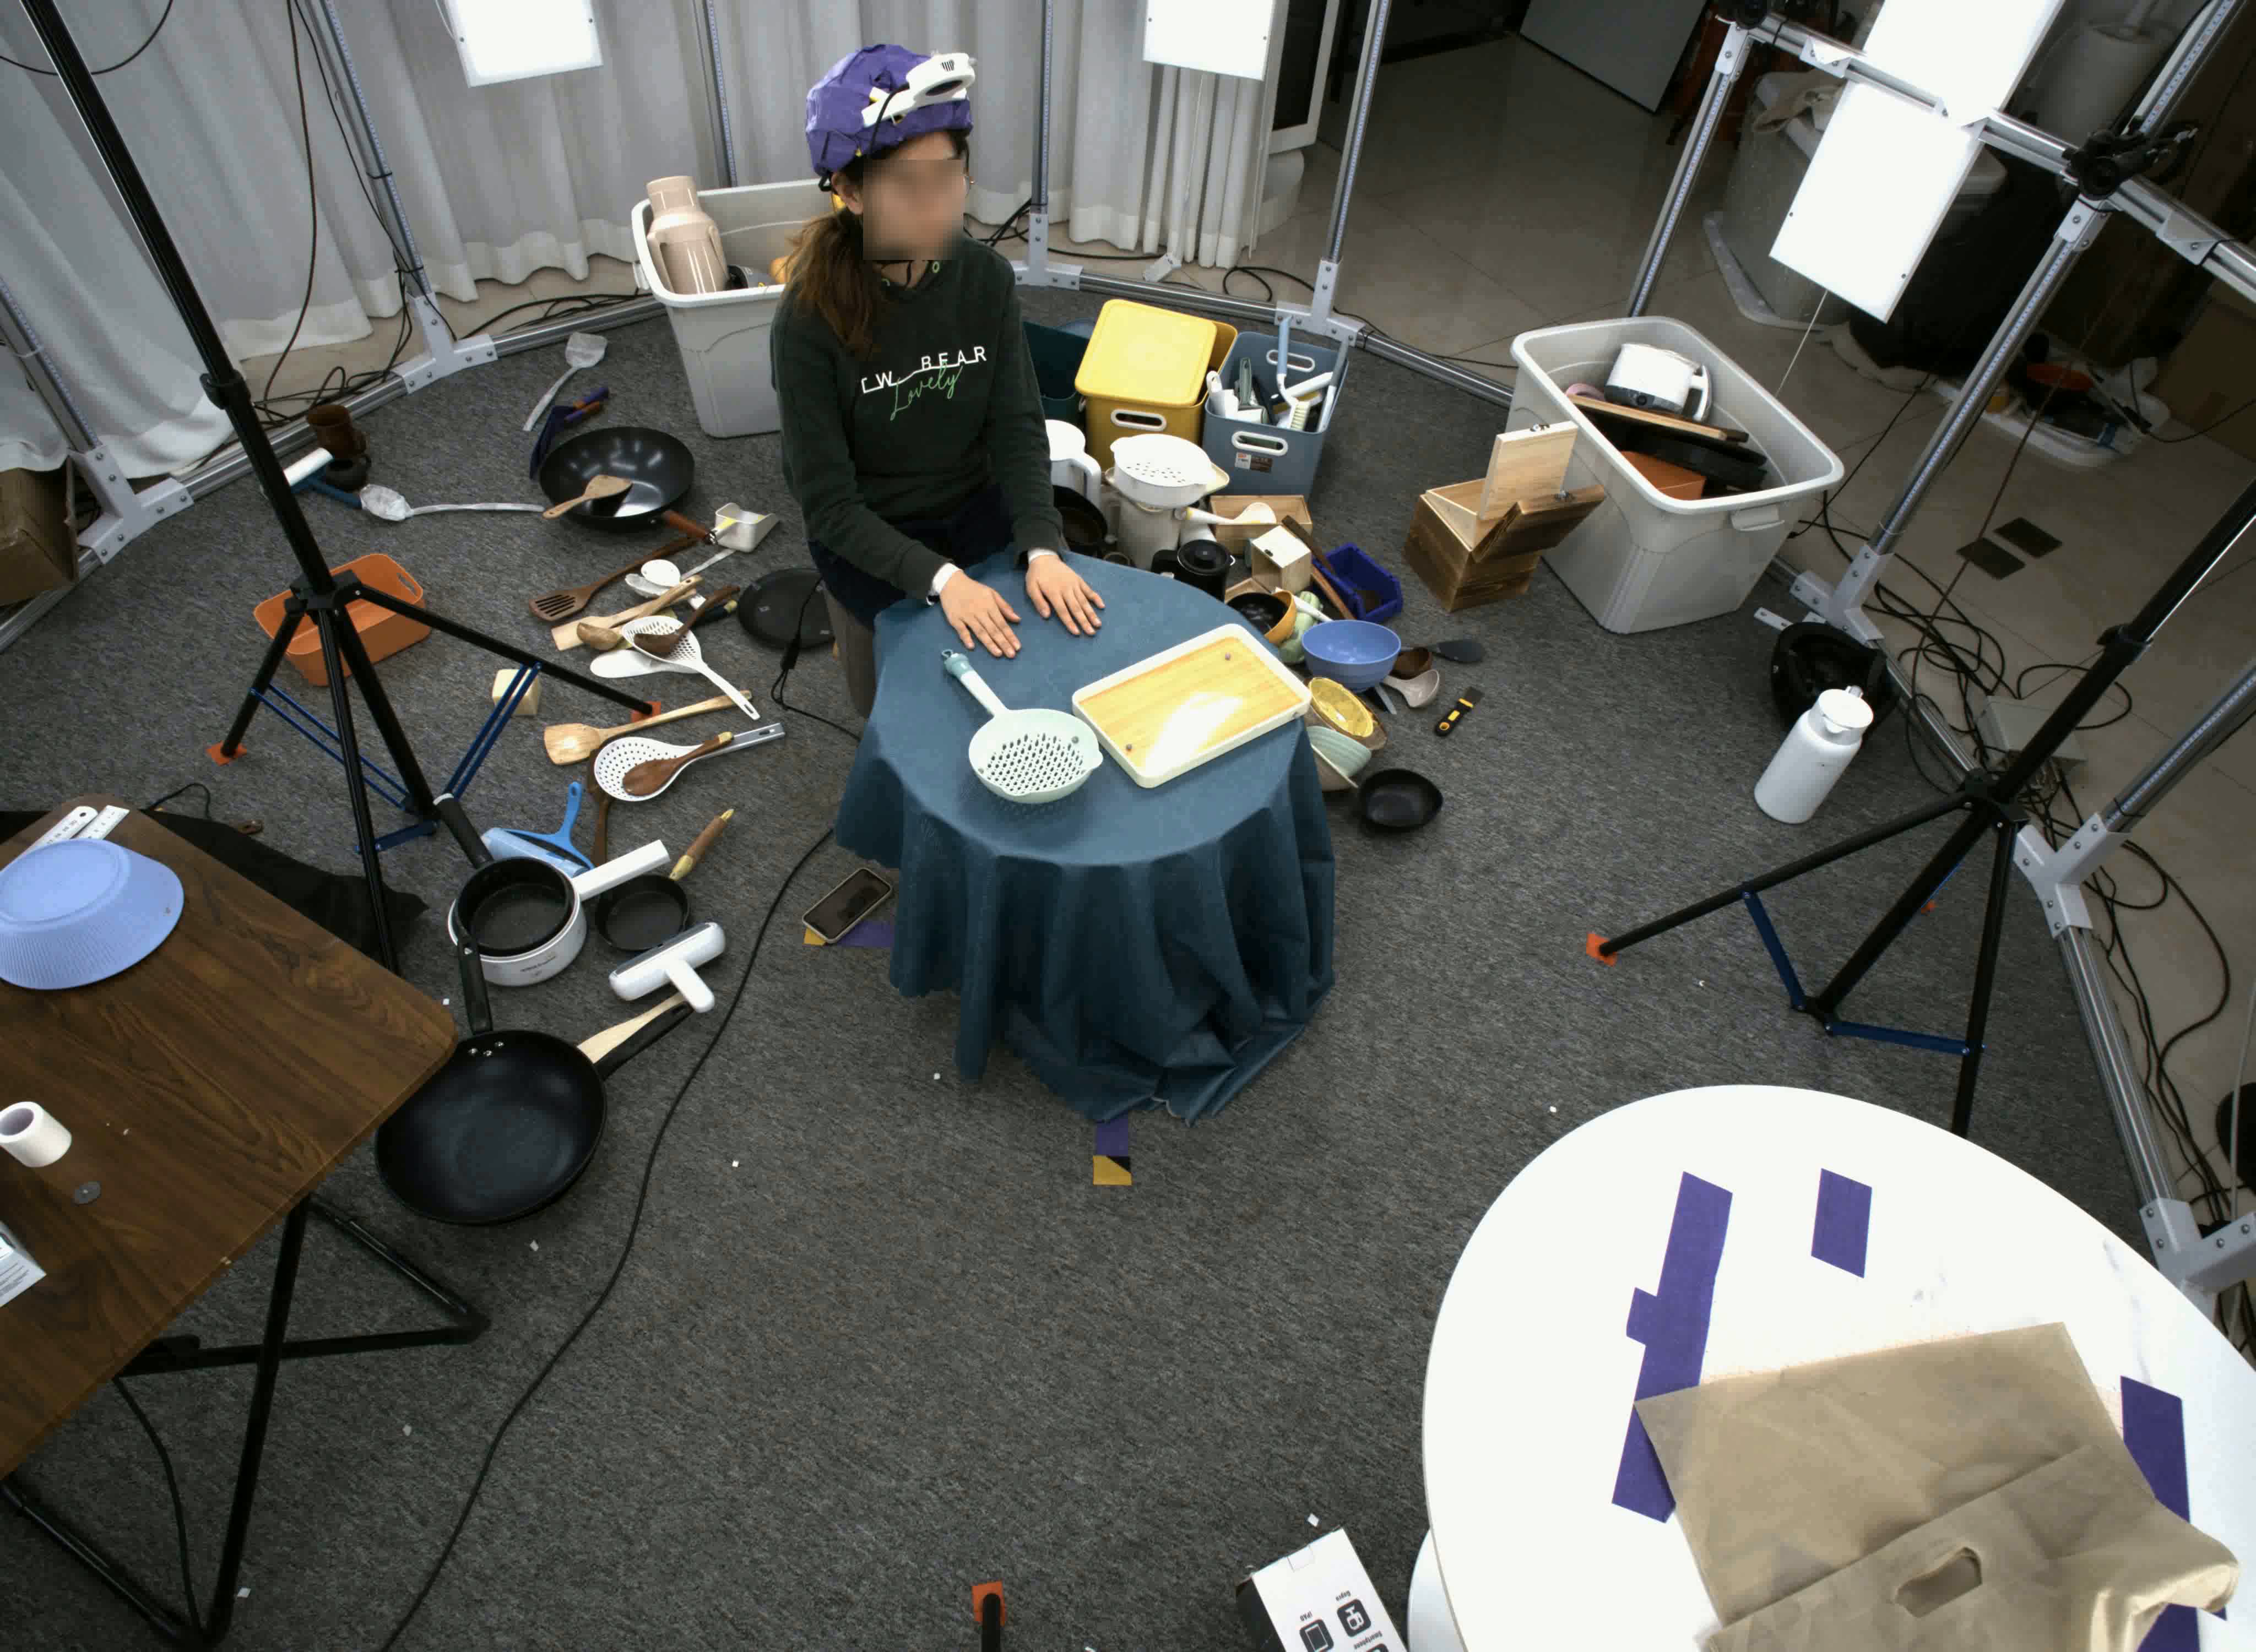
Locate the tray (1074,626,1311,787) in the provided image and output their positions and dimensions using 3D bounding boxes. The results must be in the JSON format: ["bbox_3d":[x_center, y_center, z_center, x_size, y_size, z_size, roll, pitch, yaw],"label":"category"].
[{"bbox_3d":[0.092,-0.175,1.825,0.301,0.027,0.195,-26,55,-24],"label":"tray"}]

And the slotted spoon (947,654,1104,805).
[{"bbox_3d":[-0.171,-0.148,1.760,0.170,0.073,0.366,-21,53,-21],"label":"slotted spoon"}]
